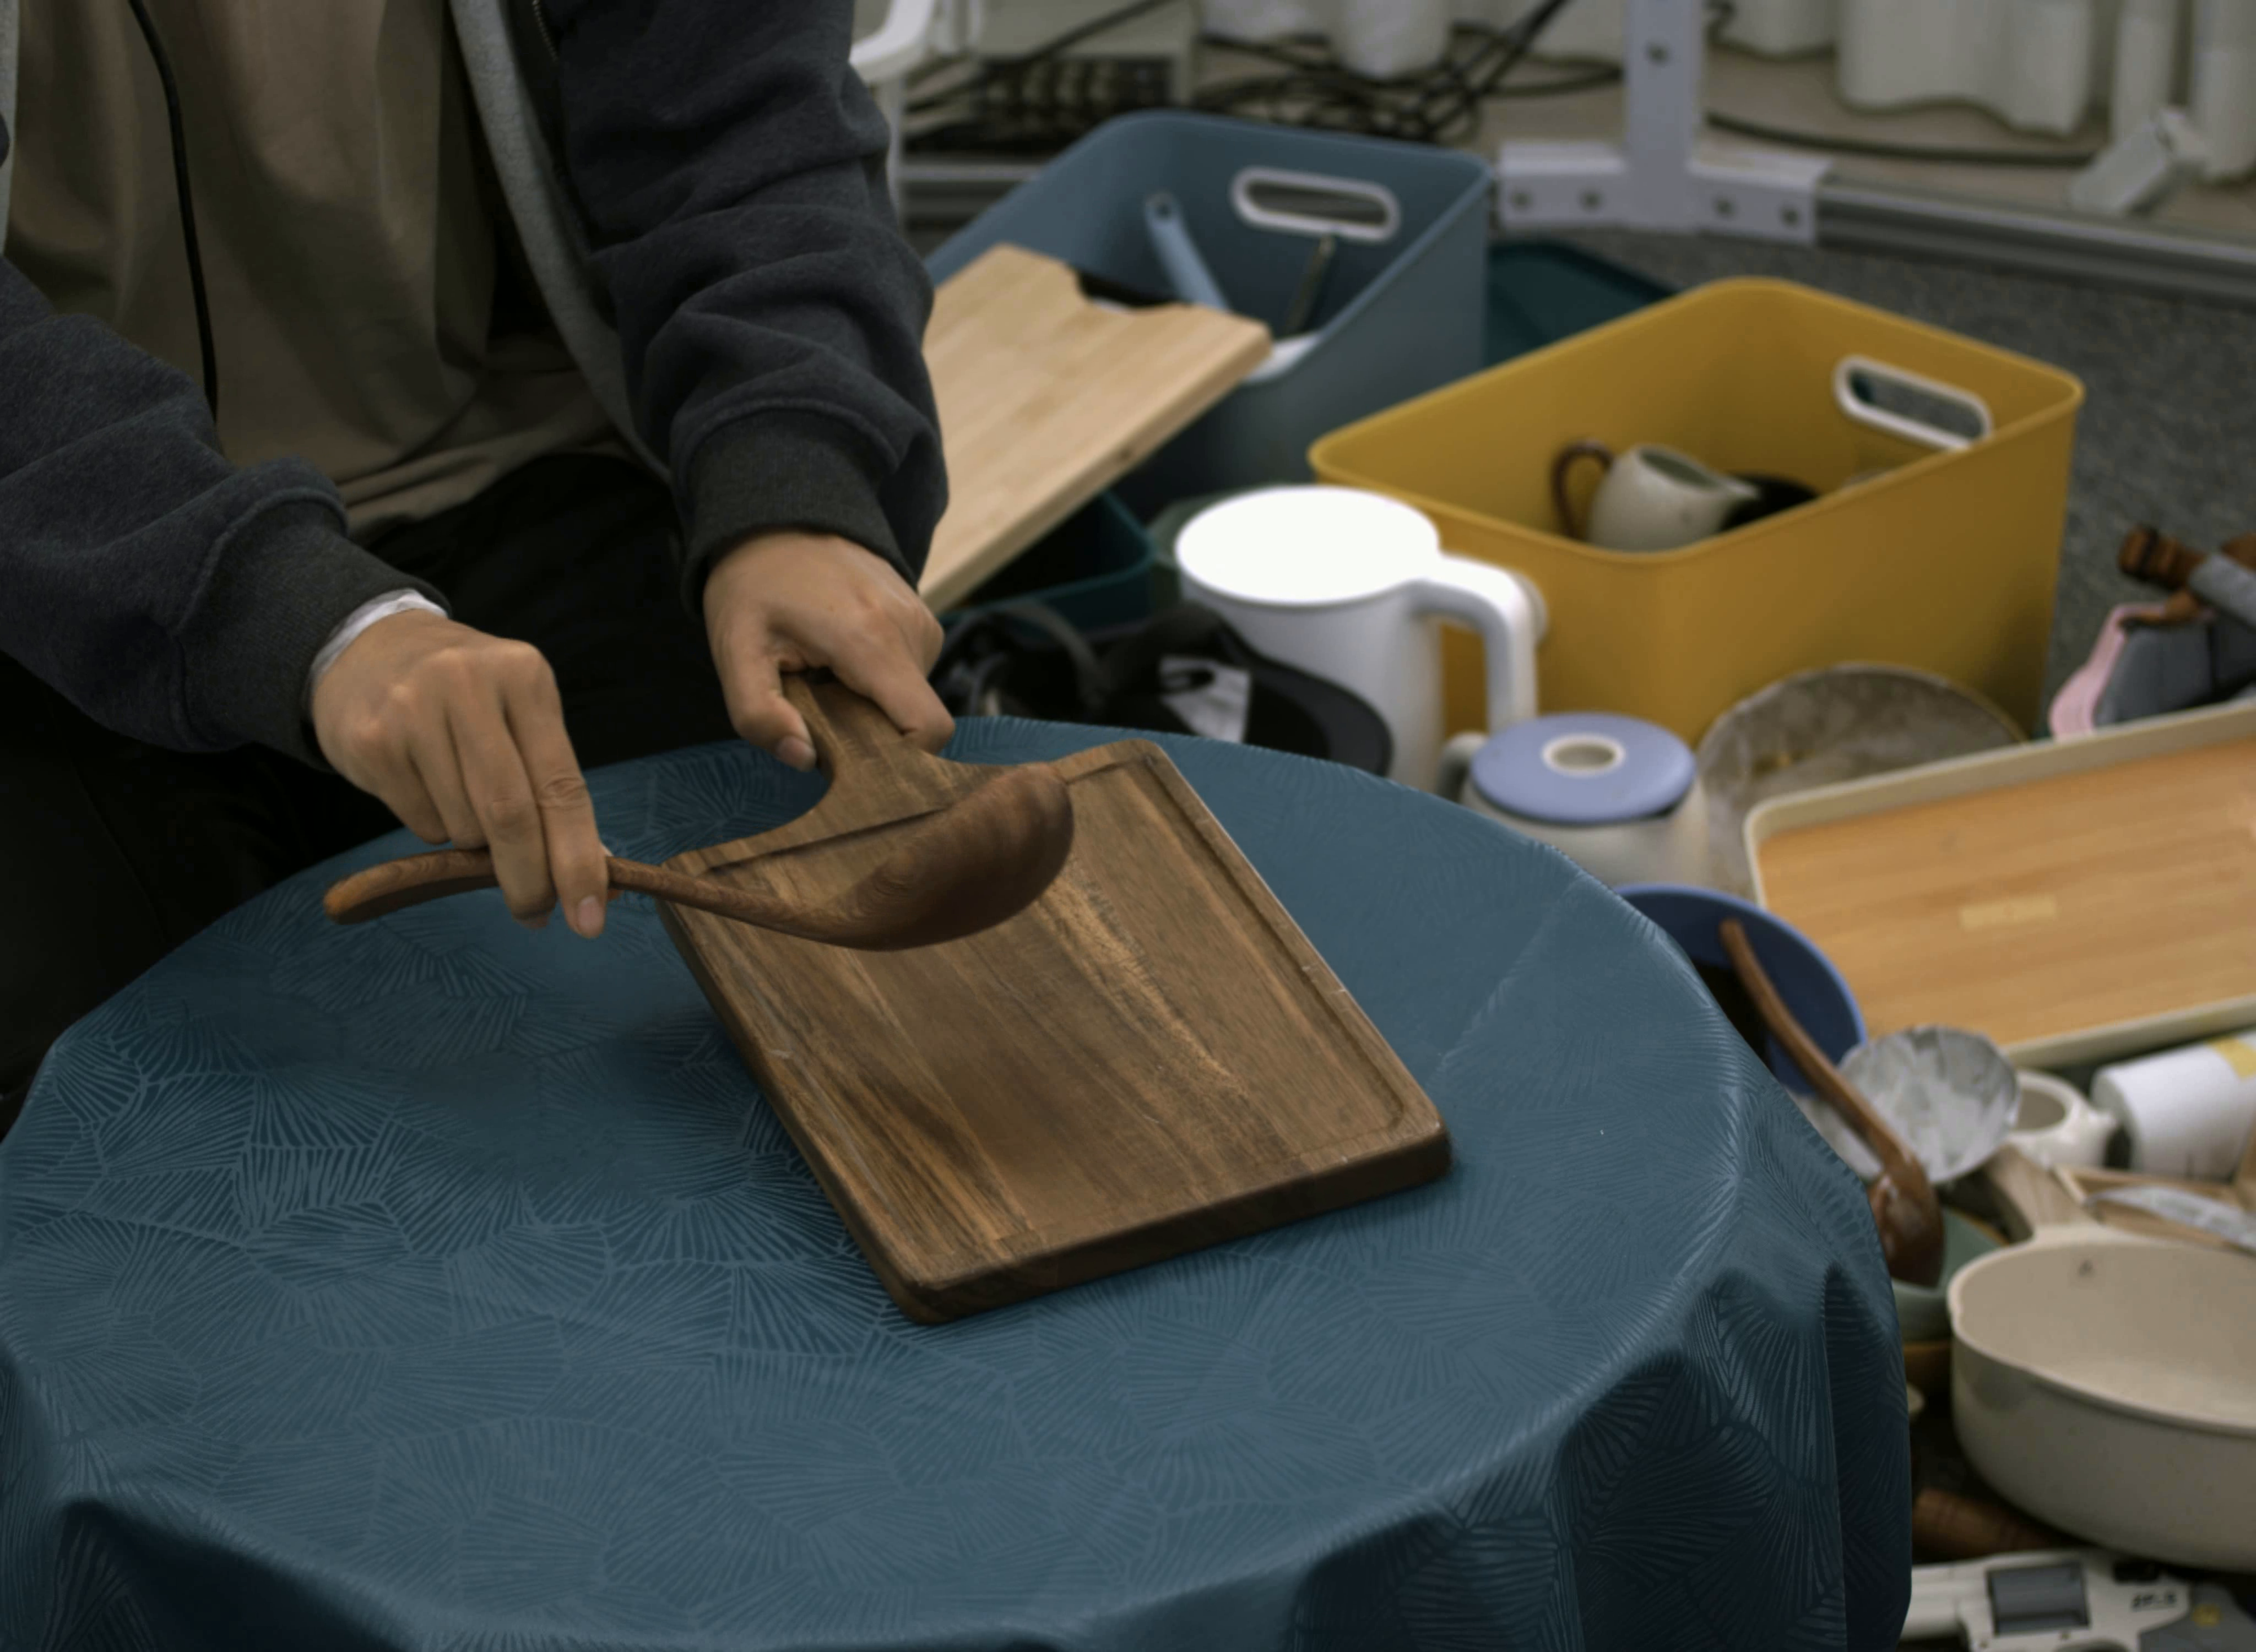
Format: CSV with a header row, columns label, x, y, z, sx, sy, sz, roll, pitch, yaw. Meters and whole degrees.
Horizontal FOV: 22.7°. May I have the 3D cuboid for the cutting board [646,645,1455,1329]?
label,x,y,z,sx,sy,sz,roll,pitch,yaw
cutting board,-0.050,0.037,1.948,0.202,0.023,0.356,-14,38,-20

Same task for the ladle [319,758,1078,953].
label,x,y,z,sx,sy,sz,roll,pitch,yaw
ladle,-0.144,0.007,1.875,0.258,0.076,0.066,2,70,14
